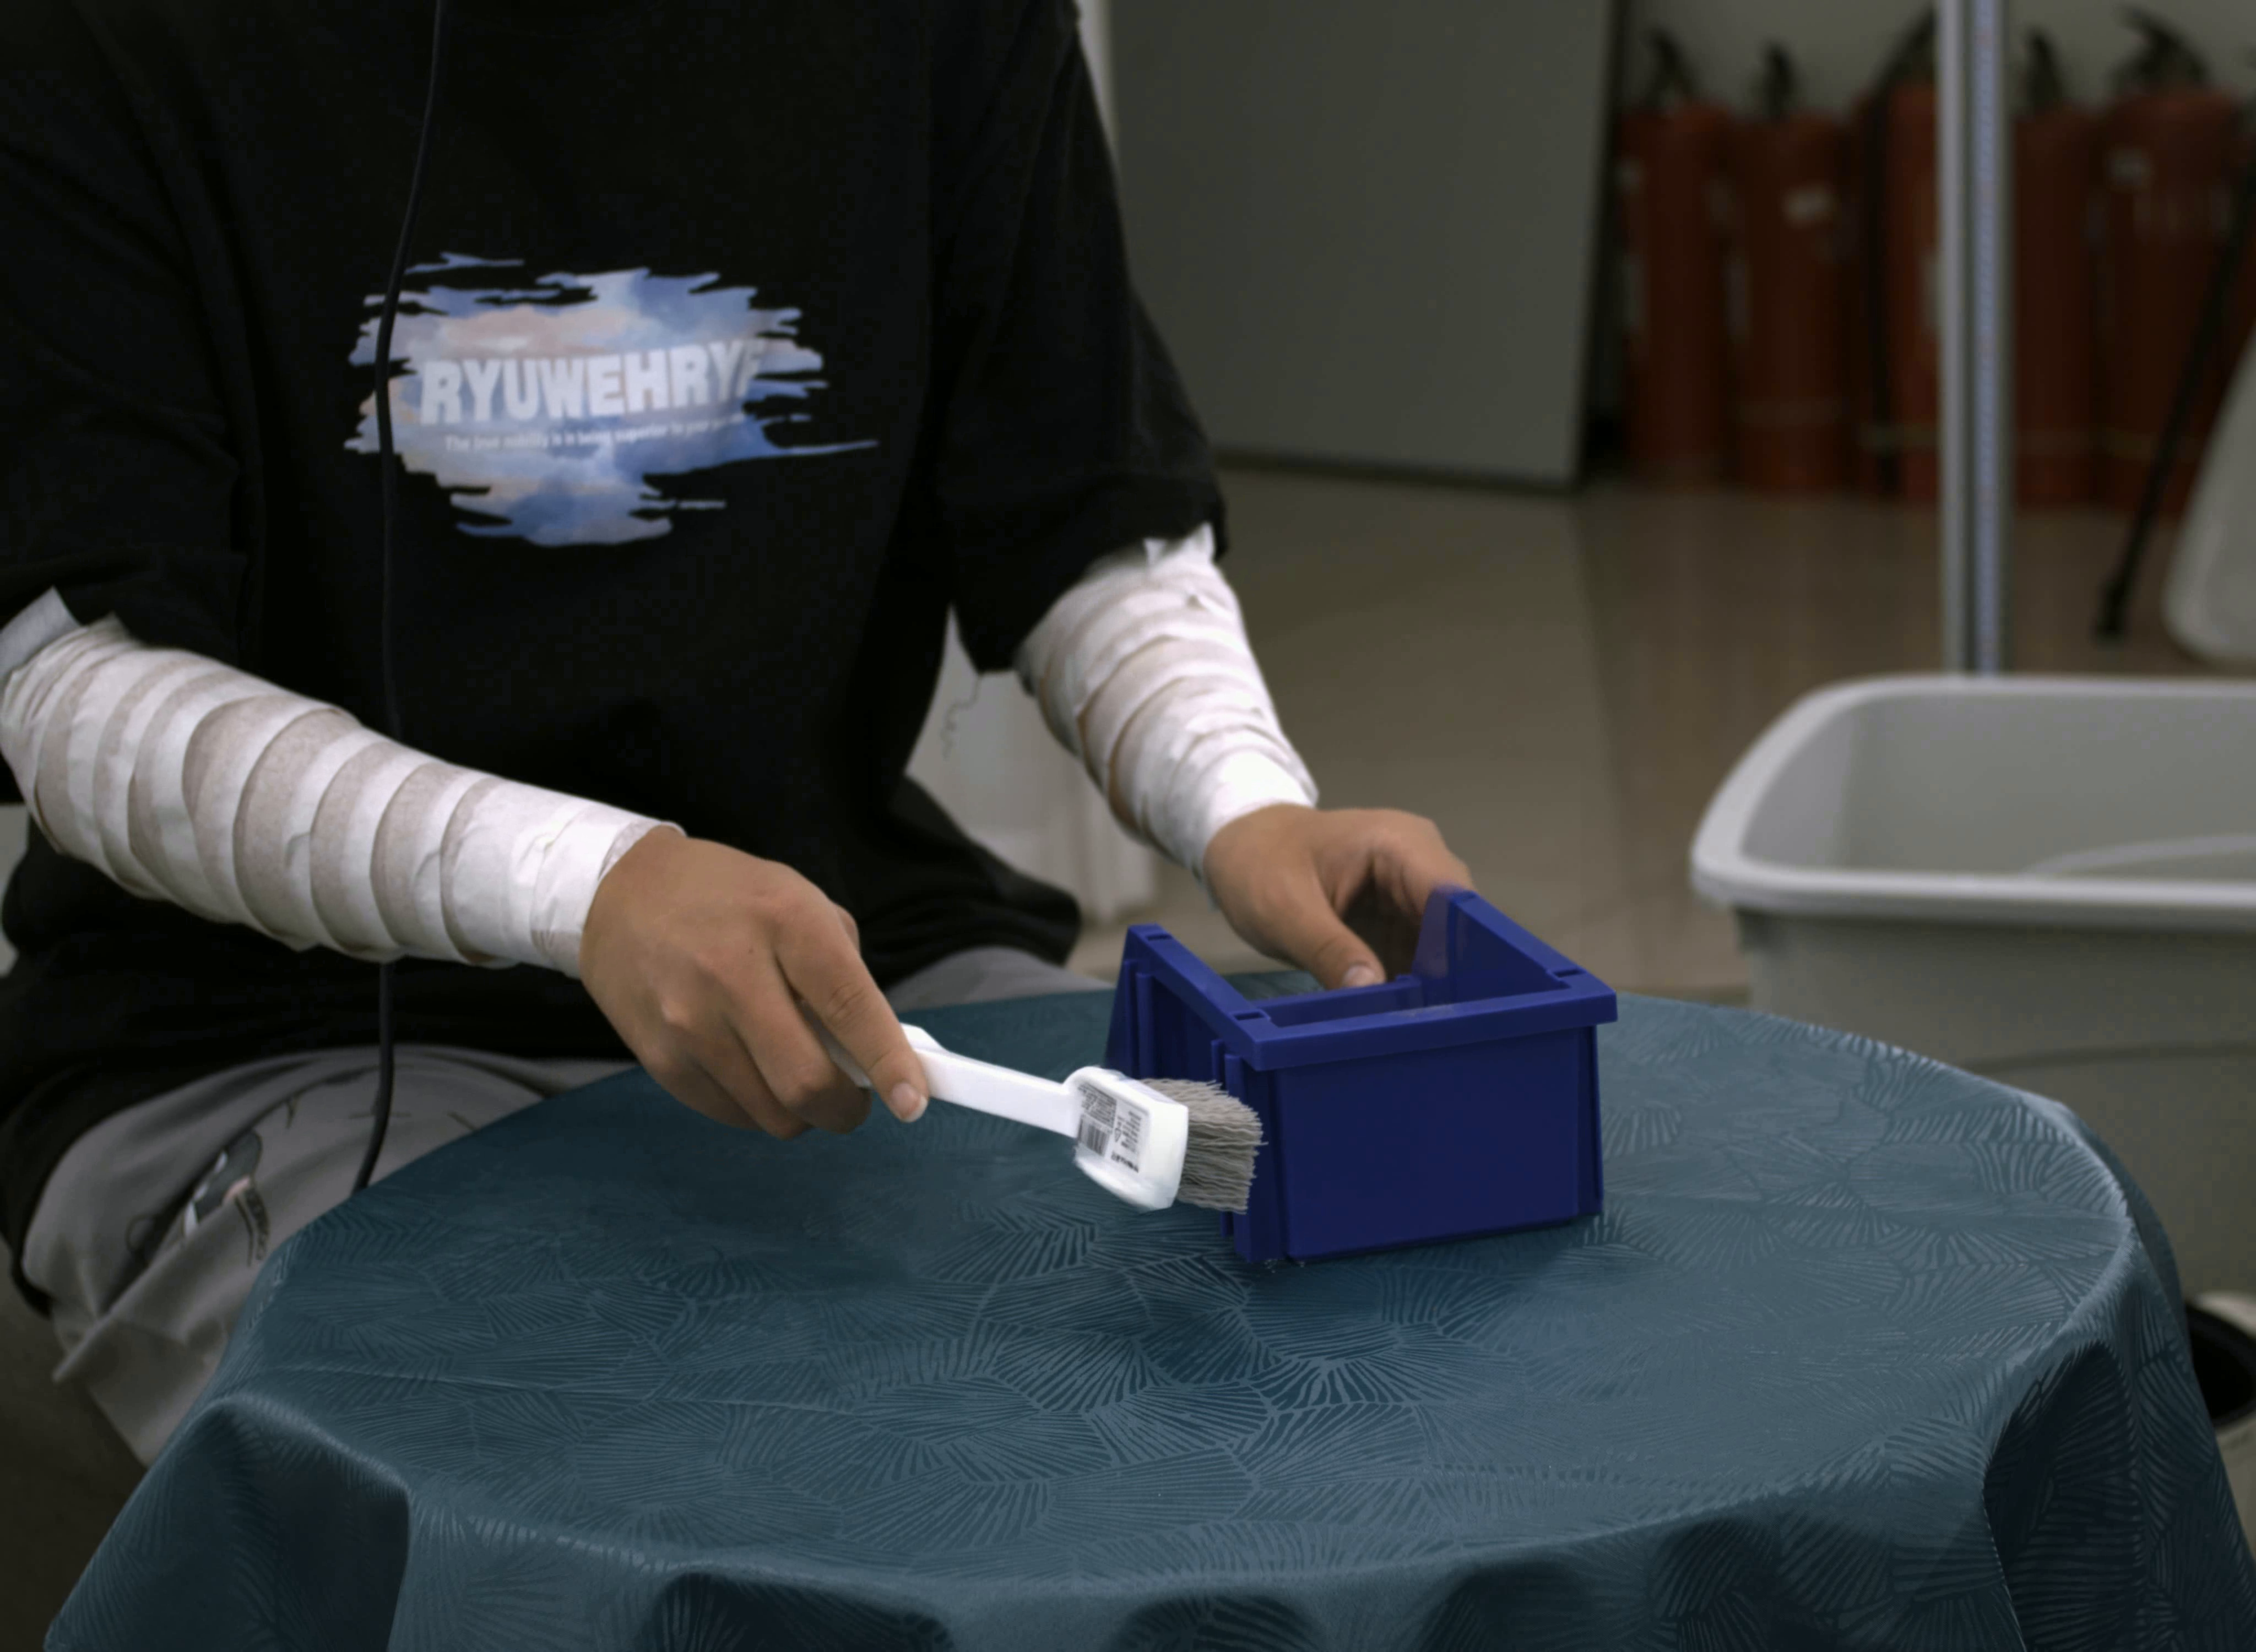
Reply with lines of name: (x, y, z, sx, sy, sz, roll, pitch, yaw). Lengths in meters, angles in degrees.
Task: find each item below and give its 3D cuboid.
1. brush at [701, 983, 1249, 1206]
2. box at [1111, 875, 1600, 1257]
brush: (-0.048, 0.082, 1.708, 0.049, 0.035, 0.246, 9, 2, -40)
box: (0.070, 0.075, 1.769, 0.122, 0.083, 0.181, -7, 15, -12)
